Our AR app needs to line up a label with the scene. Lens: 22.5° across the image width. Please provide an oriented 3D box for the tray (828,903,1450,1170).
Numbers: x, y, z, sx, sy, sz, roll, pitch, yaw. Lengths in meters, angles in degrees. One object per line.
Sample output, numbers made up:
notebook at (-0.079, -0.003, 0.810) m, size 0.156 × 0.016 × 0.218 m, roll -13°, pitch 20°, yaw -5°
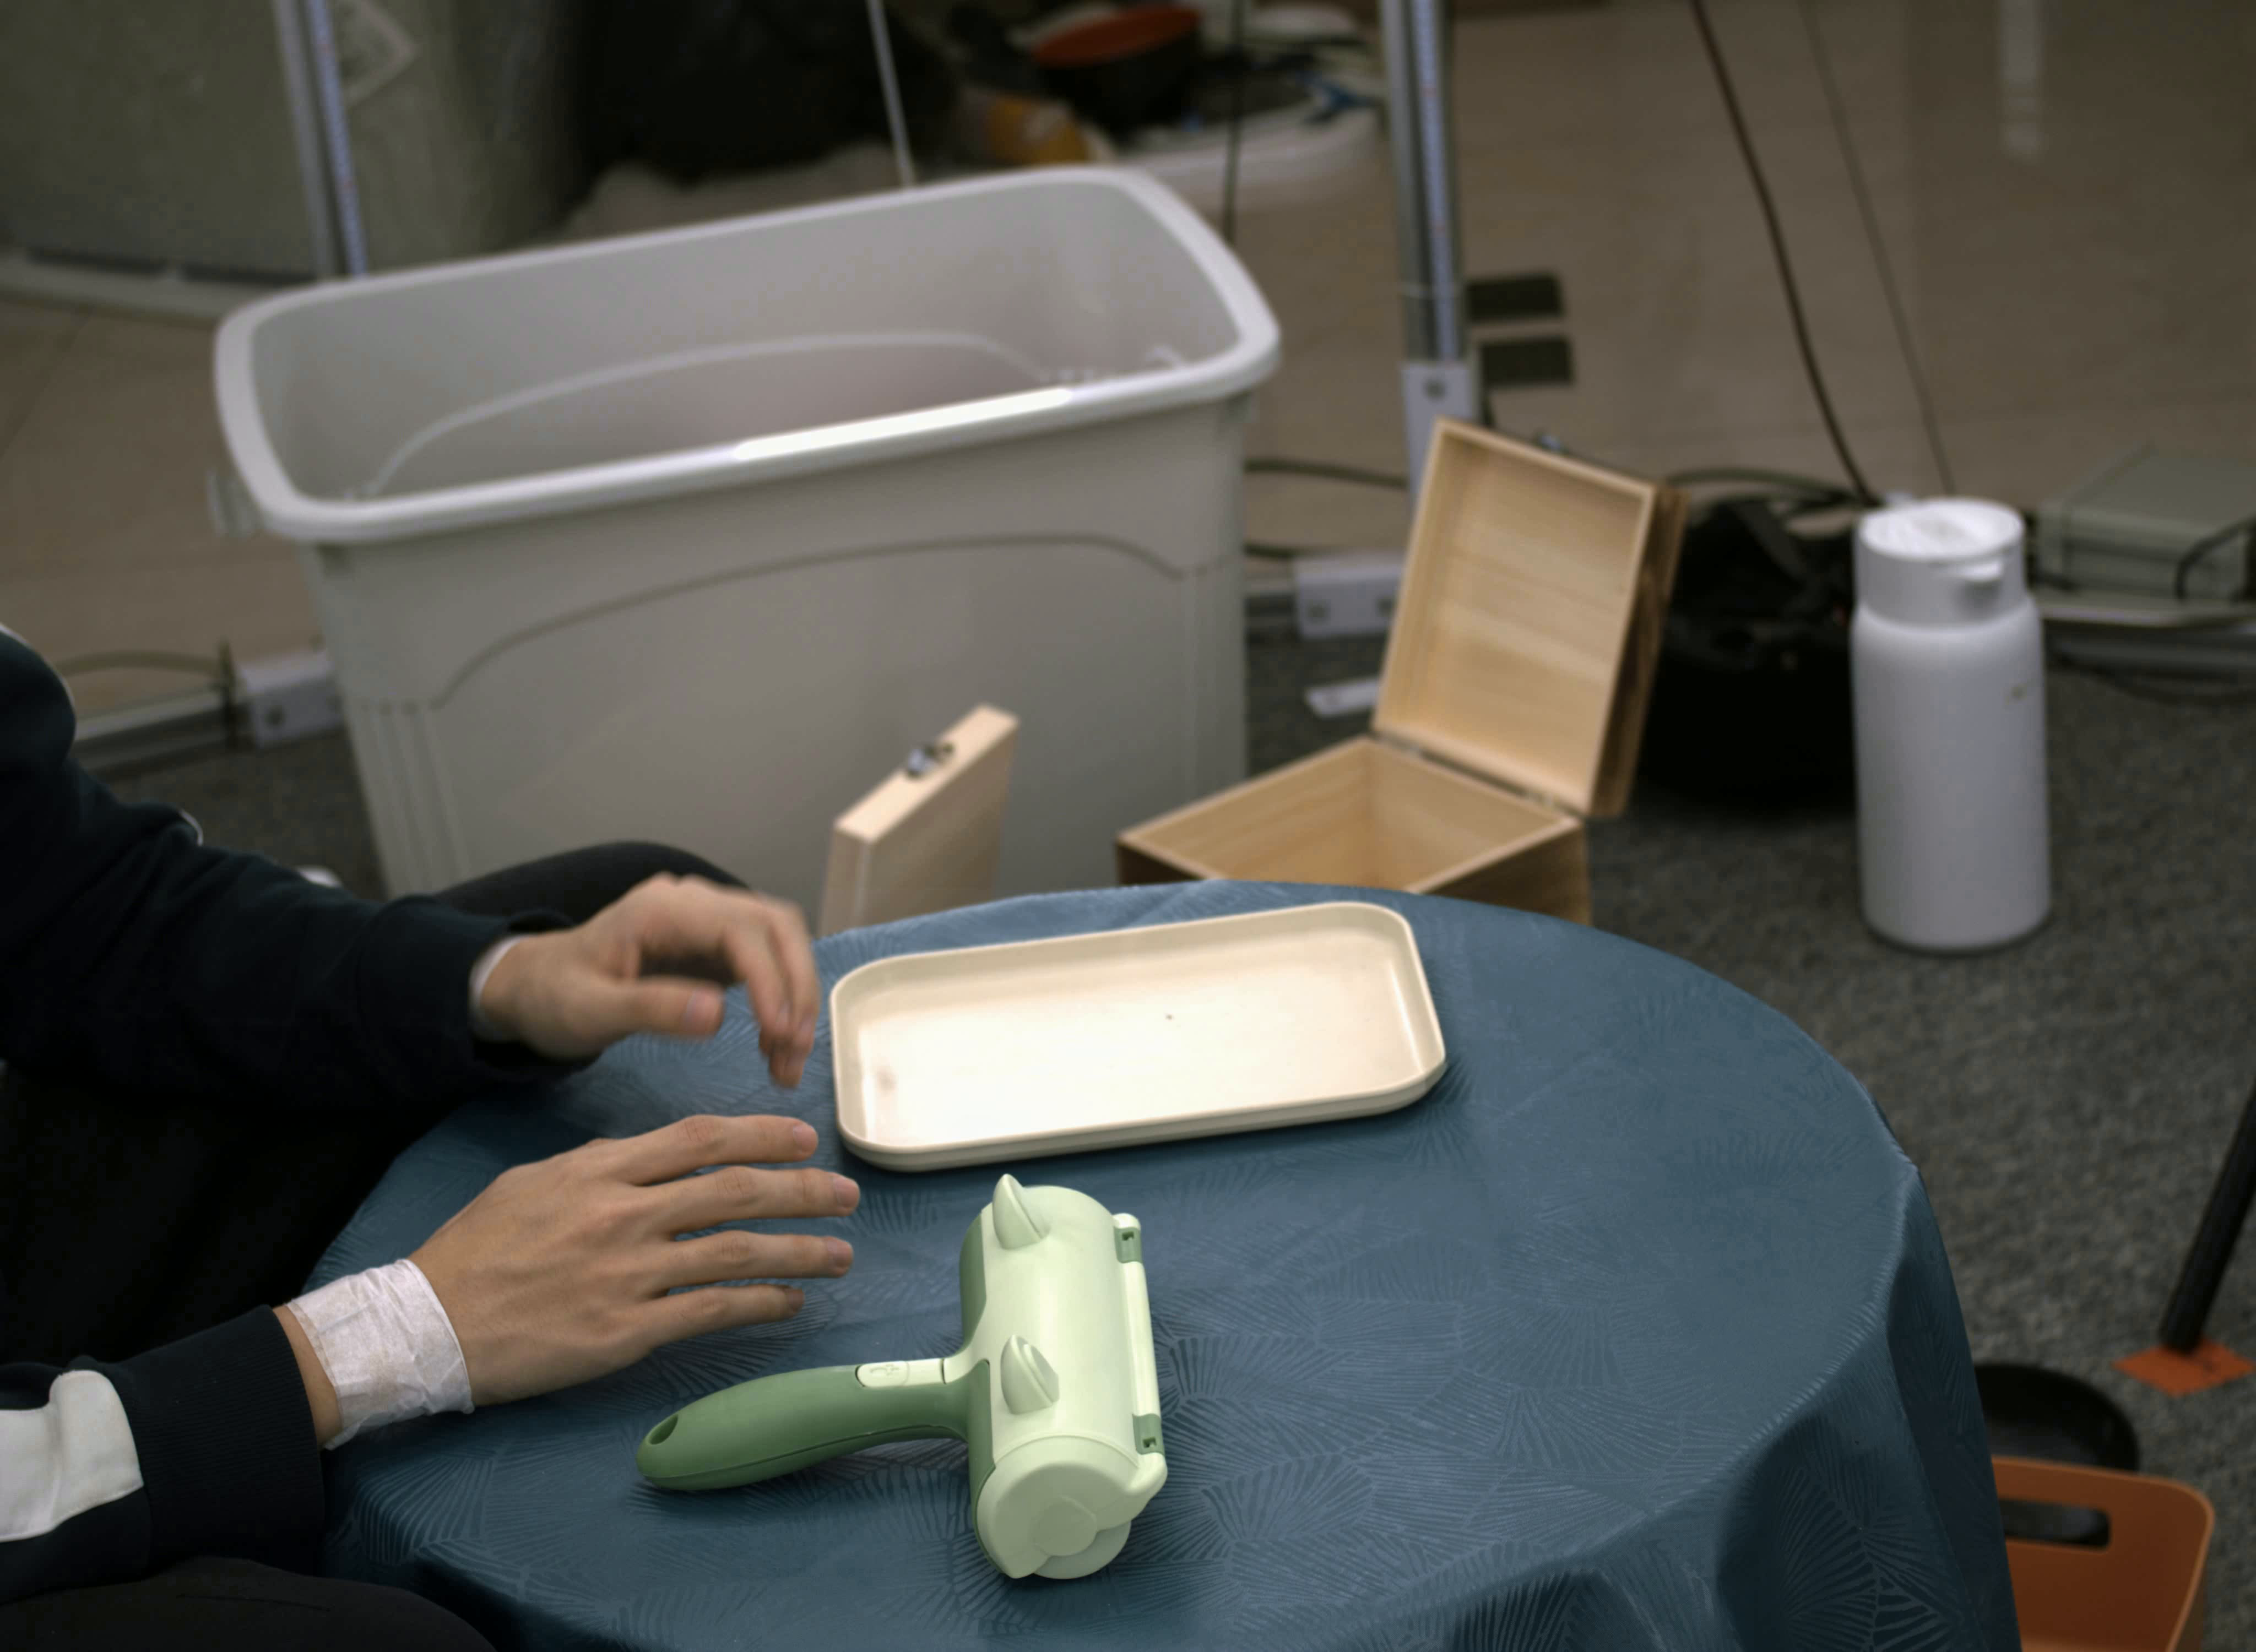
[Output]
tray at (0.003, 0.084, 2.240) m, size 0.239 × 0.018 × 0.169 m, roll -7°, pitch 24°, yaw -2°

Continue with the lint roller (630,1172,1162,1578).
lint roller at (-0.083, 0.186, 1.970) m, size 0.183 × 0.083 × 0.195 m, roll -2°, pitch 25°, yaw -2°
